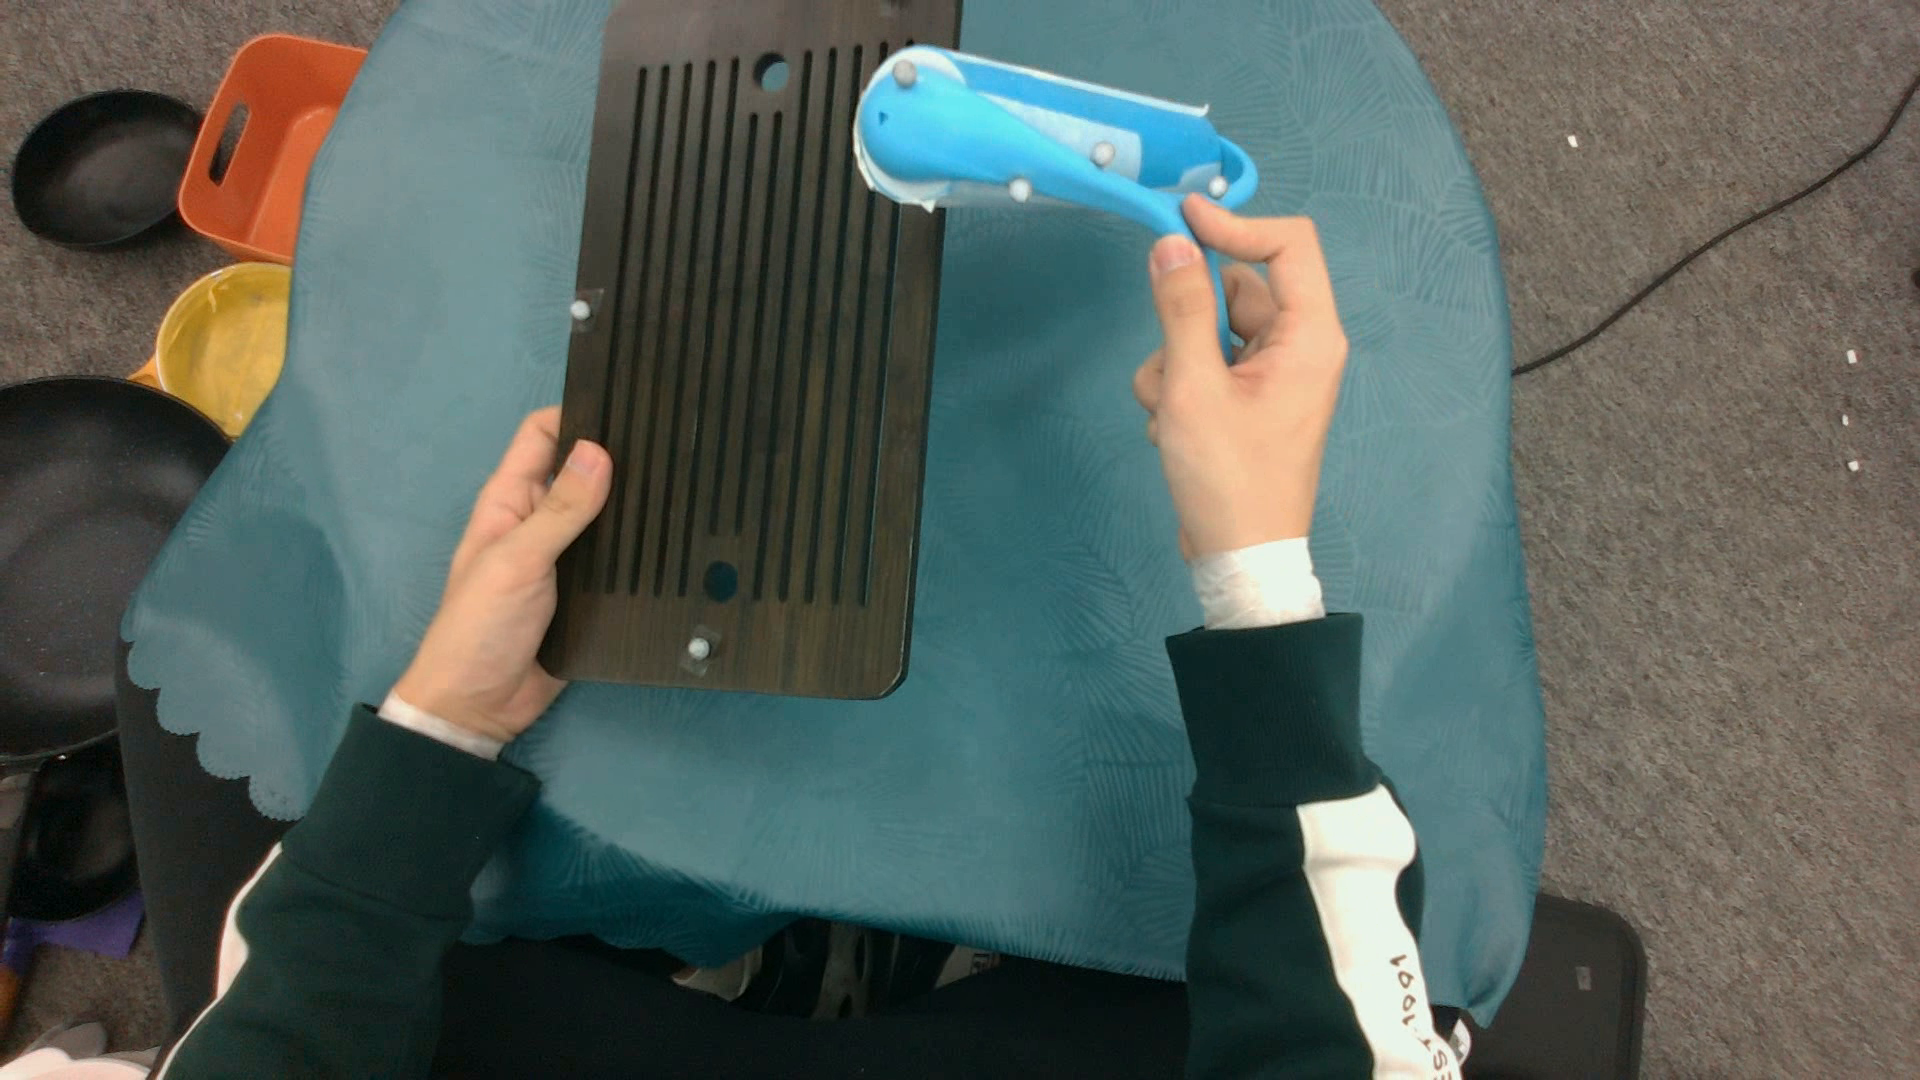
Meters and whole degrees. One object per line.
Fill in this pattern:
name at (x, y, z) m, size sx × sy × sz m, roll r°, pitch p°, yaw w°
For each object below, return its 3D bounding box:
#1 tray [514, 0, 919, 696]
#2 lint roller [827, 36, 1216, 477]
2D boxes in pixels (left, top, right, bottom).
tray at (-0.100, -0.090, 0.574) m, size 0.170 × 0.018 × 0.306 m, roll -1°, pitch 81°, yaw 20°
lint roller at (0.059, -0.117, 0.555) m, size 0.180 × 0.067 × 0.230 m, roll 58°, pitch 33°, yaw 8°
